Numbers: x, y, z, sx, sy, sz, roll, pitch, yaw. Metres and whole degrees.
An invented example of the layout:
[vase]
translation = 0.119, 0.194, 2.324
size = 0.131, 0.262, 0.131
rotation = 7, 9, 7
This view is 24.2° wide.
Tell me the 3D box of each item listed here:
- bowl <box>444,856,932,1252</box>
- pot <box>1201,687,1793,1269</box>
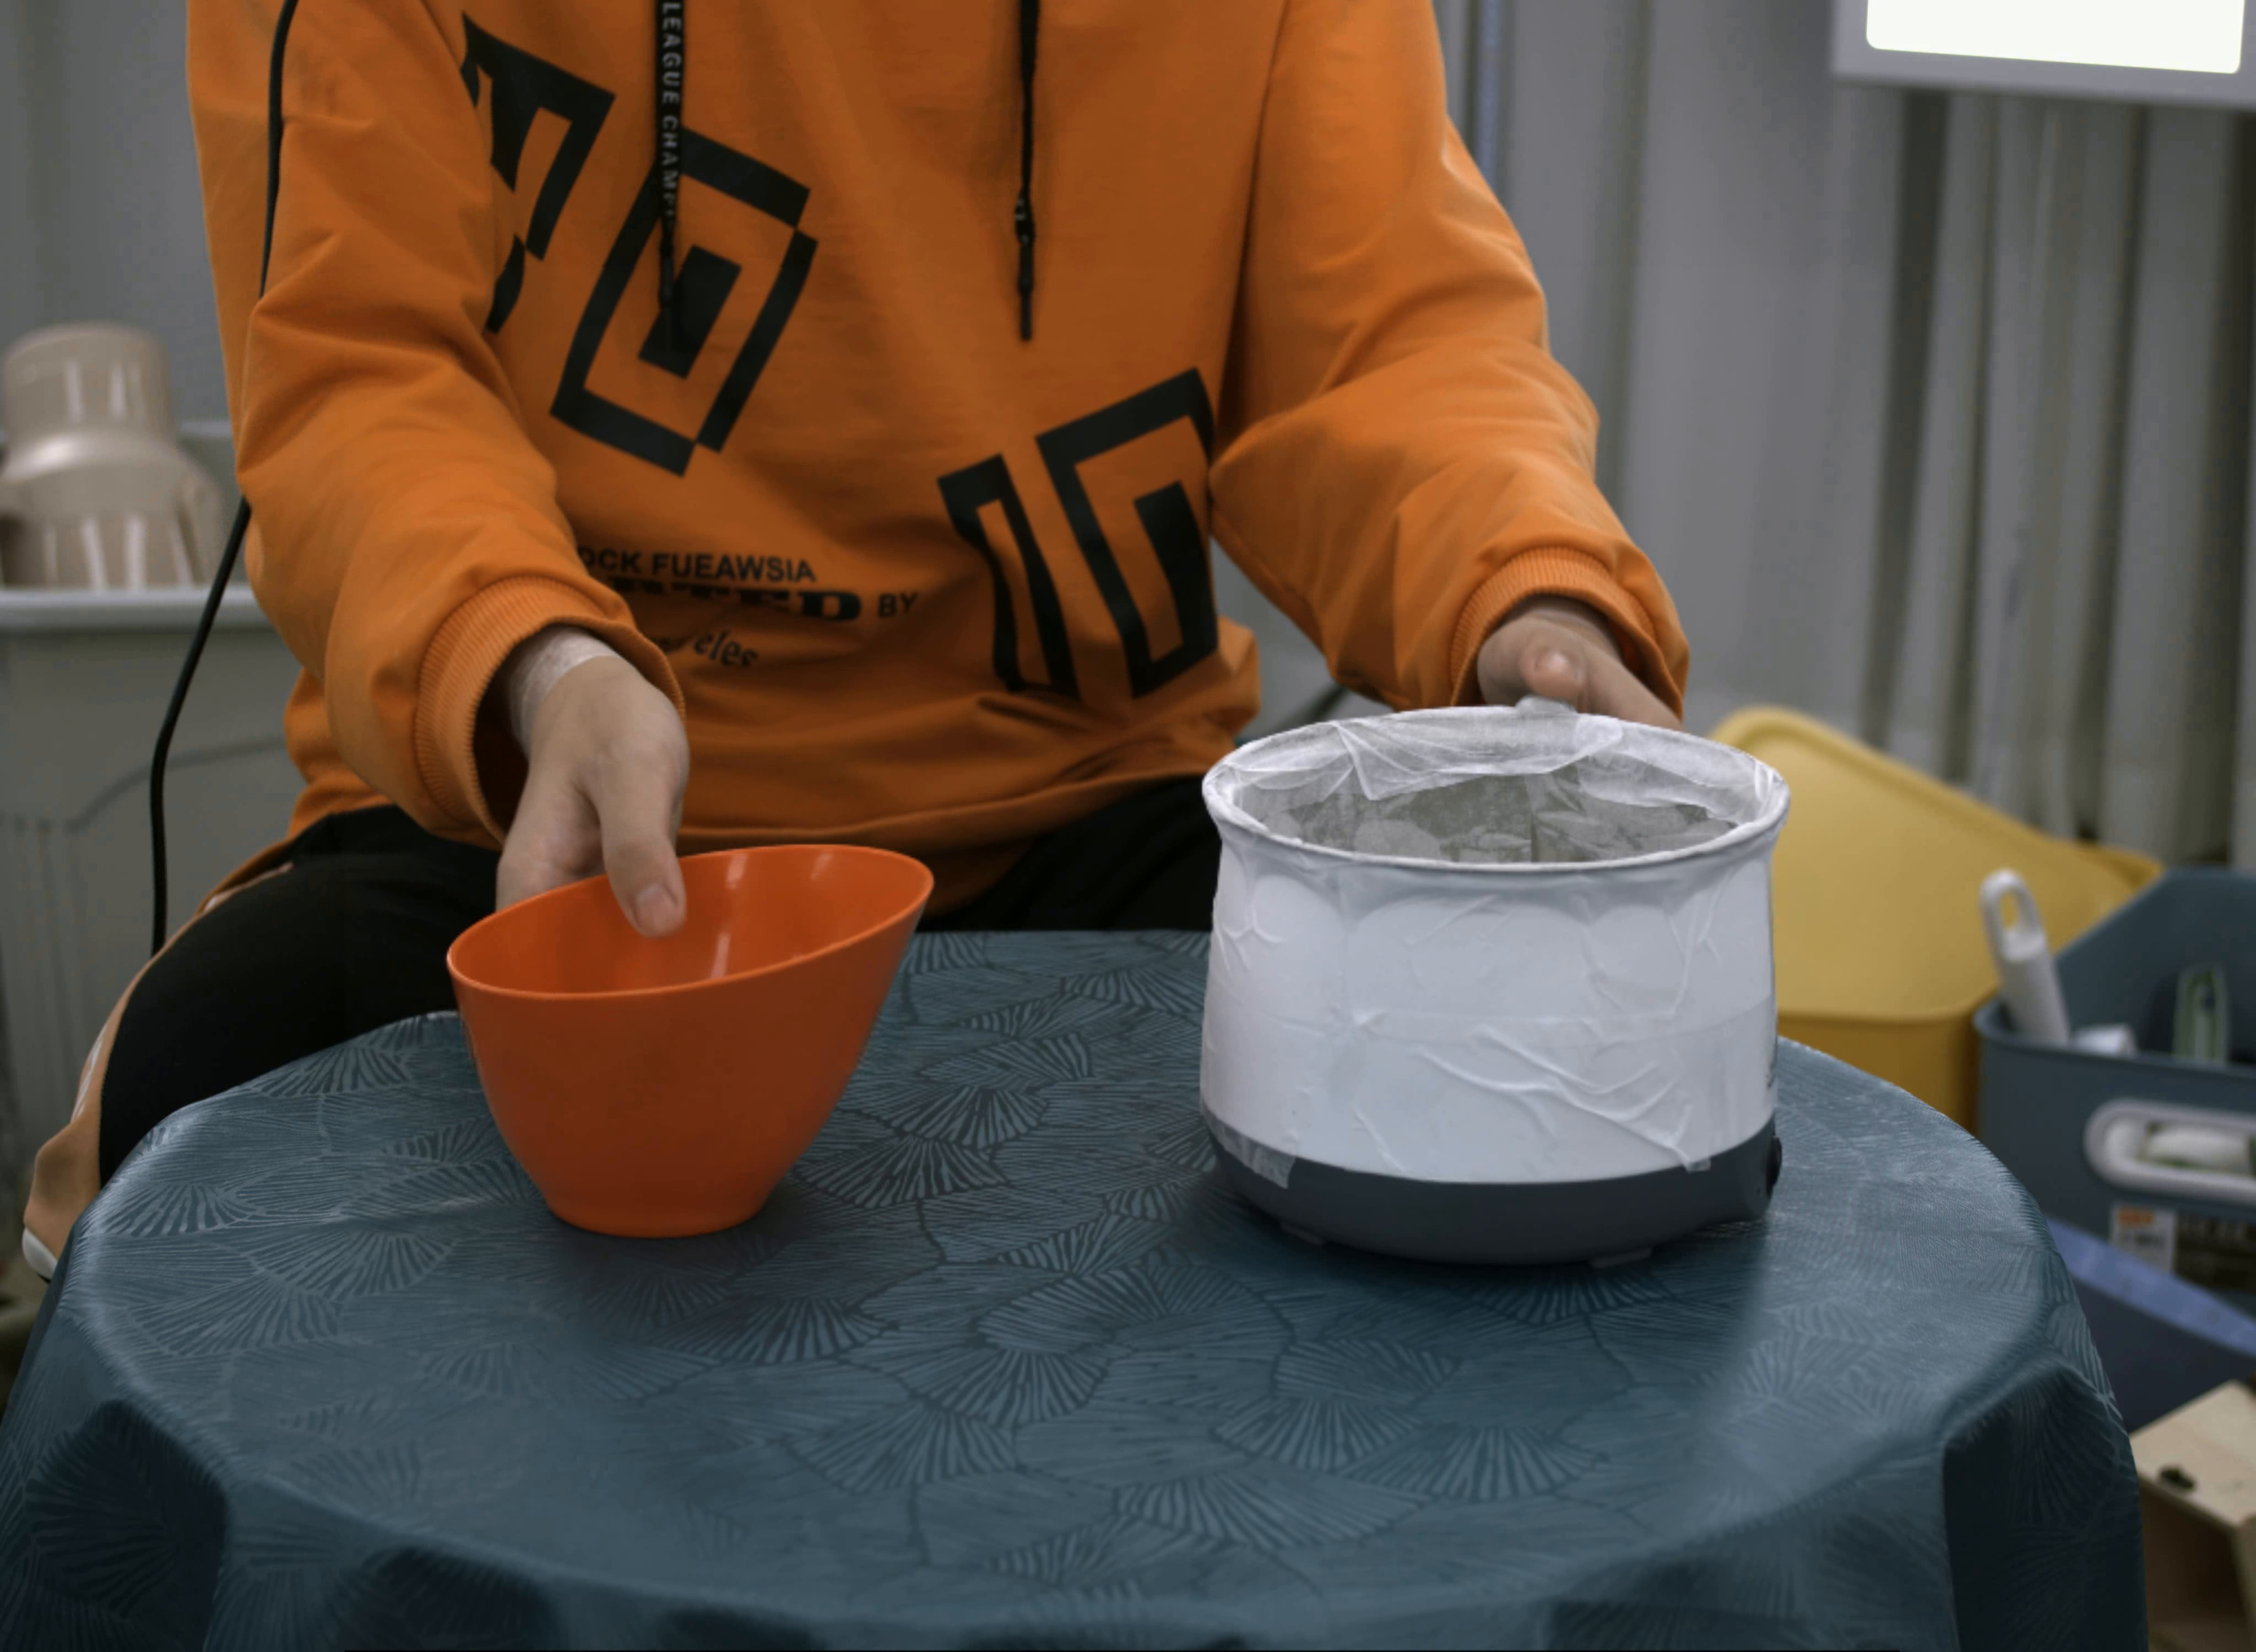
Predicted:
[bowl]
translation = -0.132, 0.070, 1.591
size = 0.147, 0.105, 0.147
rotation = 0, 16, 0
[pot]
translation = 0.116, 0.041, 1.625
size = 0.177, 0.138, 0.233
rotation = 4, 17, 10
